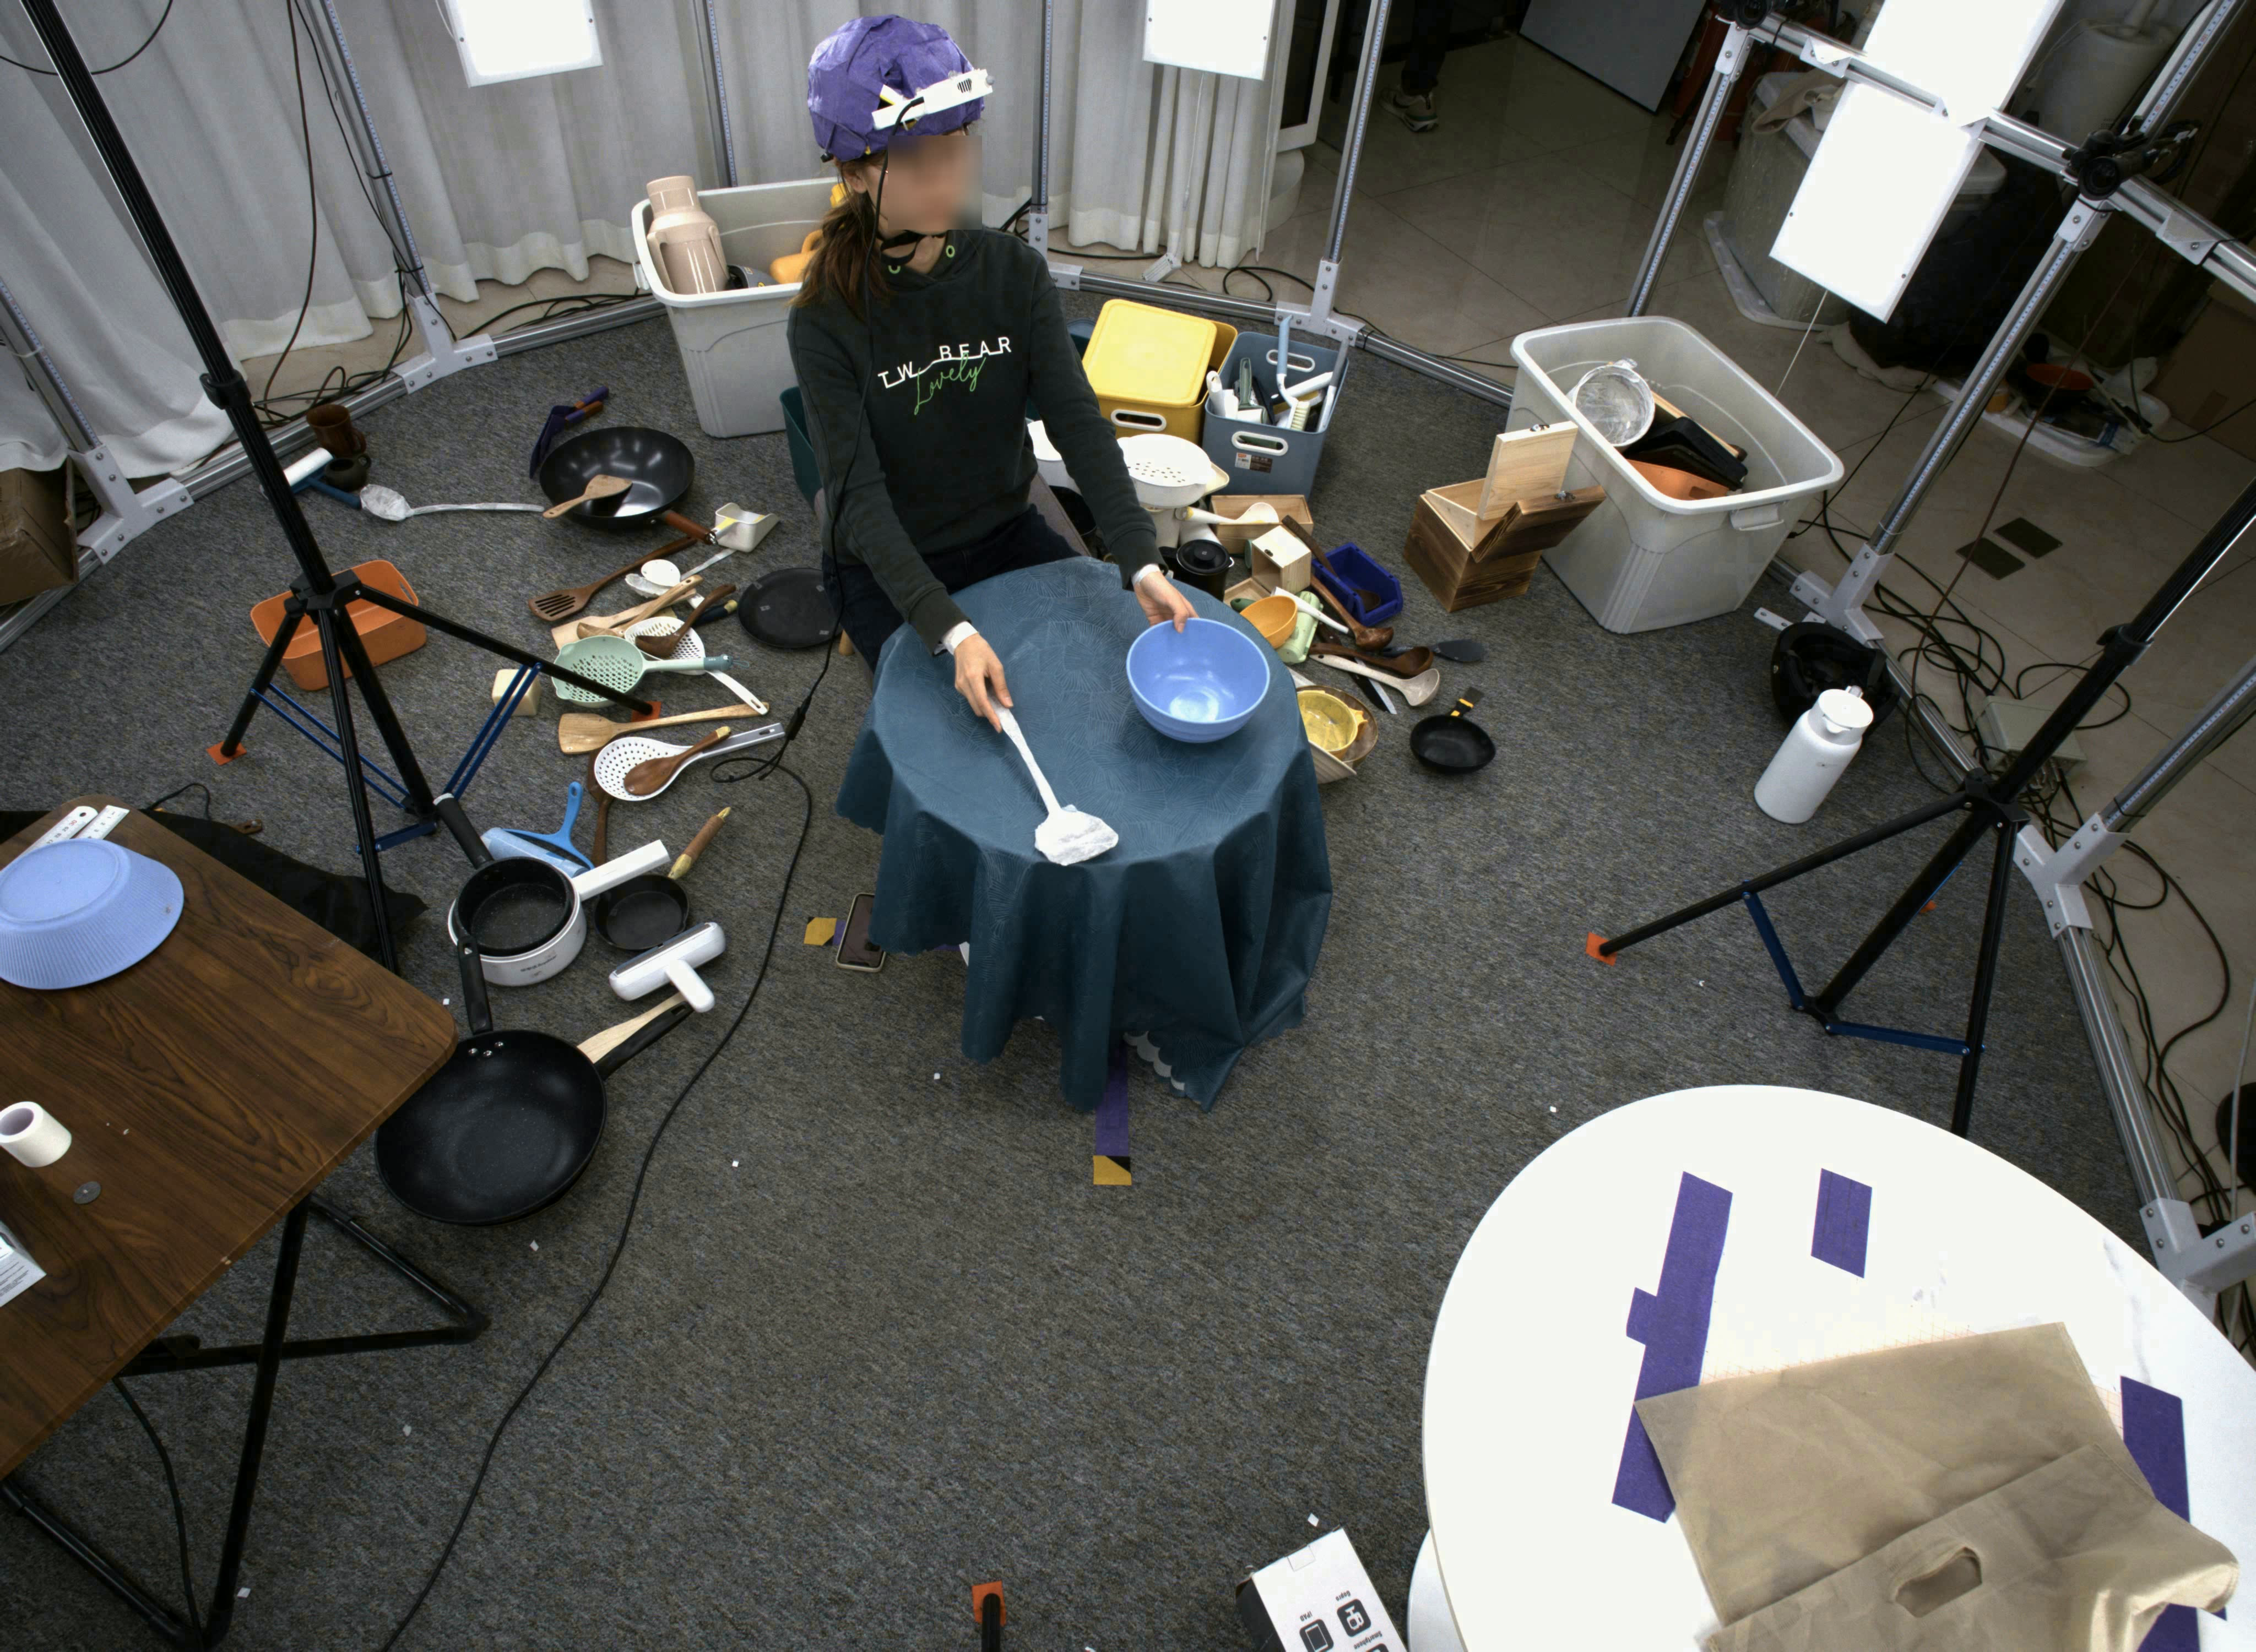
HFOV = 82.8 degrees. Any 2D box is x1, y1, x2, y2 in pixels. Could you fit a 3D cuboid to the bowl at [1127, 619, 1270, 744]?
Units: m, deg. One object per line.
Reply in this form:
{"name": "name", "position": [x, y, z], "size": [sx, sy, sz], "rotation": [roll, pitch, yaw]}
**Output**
{"name": "bowl", "position": [0.093, -0.186, 1.788], "size": [0.196, 0.093, 0.201], "rotation": [3, 53, -4]}

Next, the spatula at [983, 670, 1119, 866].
{"name": "spatula", "position": [-0.125, -0.089, 1.712], "size": [0.099, 0.044, 0.372], "rotation": [-20, 59, -16]}
